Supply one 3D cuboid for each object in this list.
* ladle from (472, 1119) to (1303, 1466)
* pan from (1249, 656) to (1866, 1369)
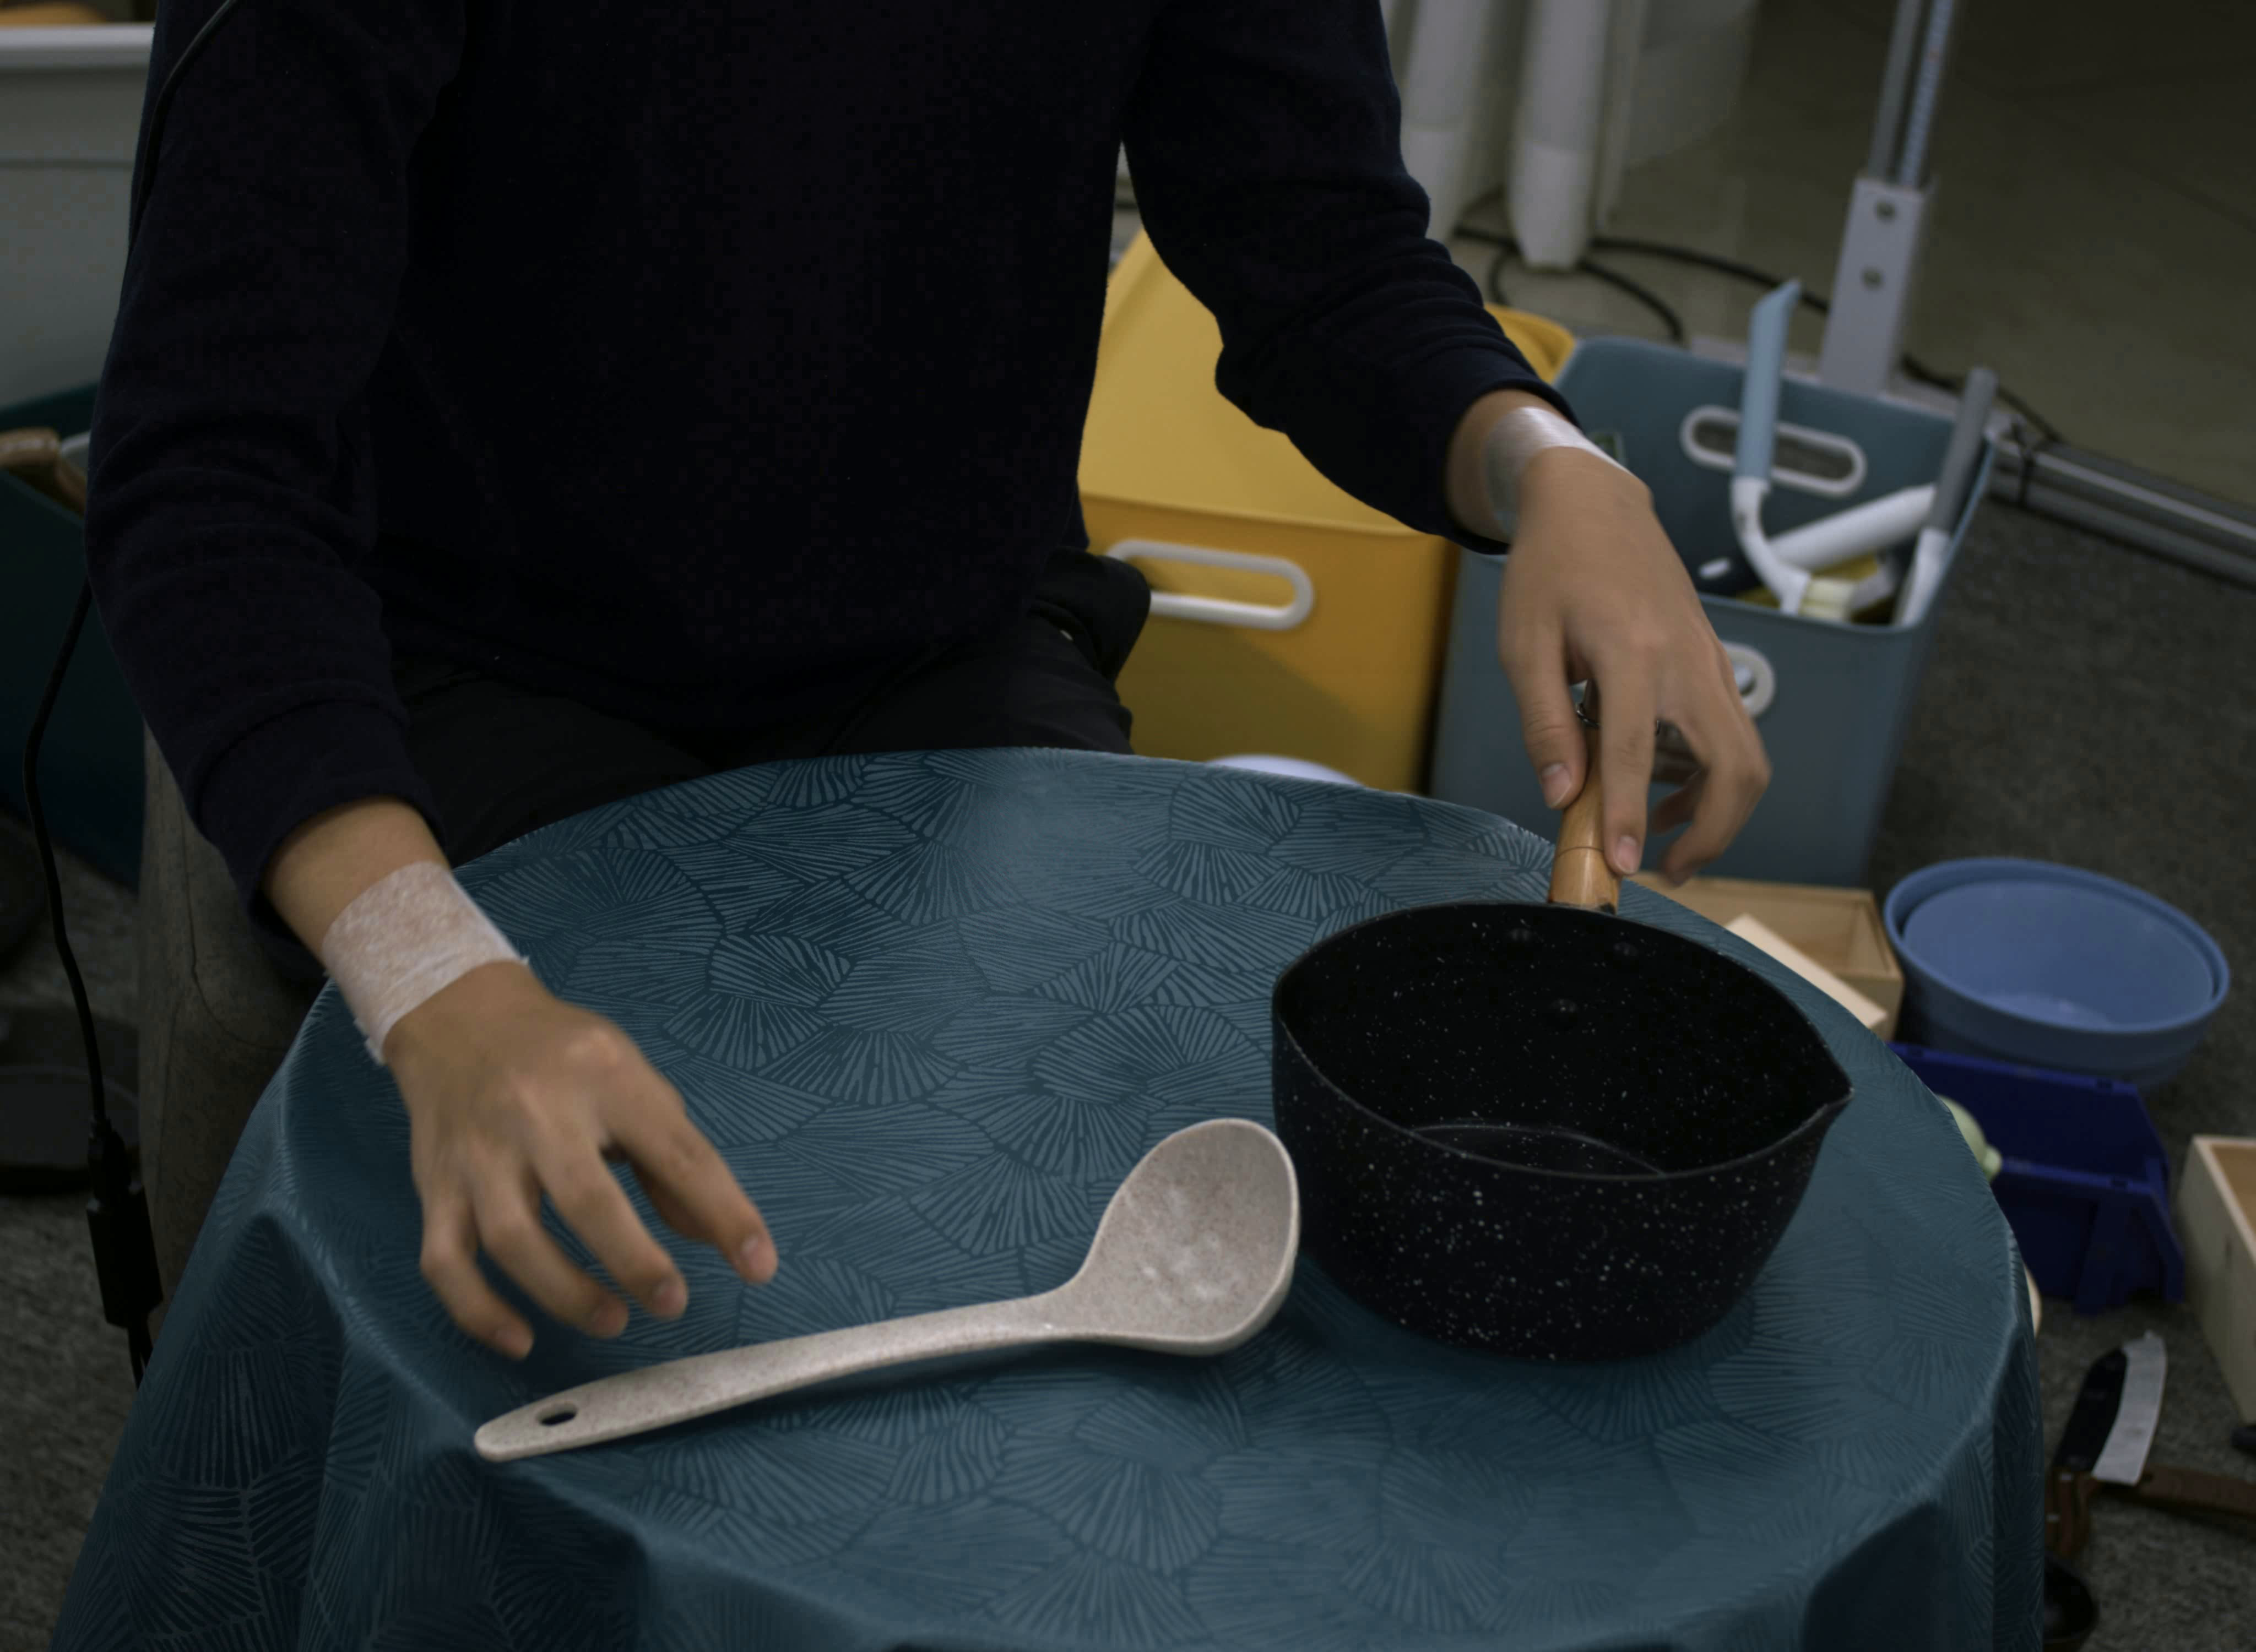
[{"bbox_3d":[-0.073,0.147,1.666,0.273,0.069,0.090,-8,37,-26],"label":"ladle"},{"bbox_3d":[0.150,0.060,1.843,0.207,0.108,0.344,8,28,5],"label":"pan"}]
